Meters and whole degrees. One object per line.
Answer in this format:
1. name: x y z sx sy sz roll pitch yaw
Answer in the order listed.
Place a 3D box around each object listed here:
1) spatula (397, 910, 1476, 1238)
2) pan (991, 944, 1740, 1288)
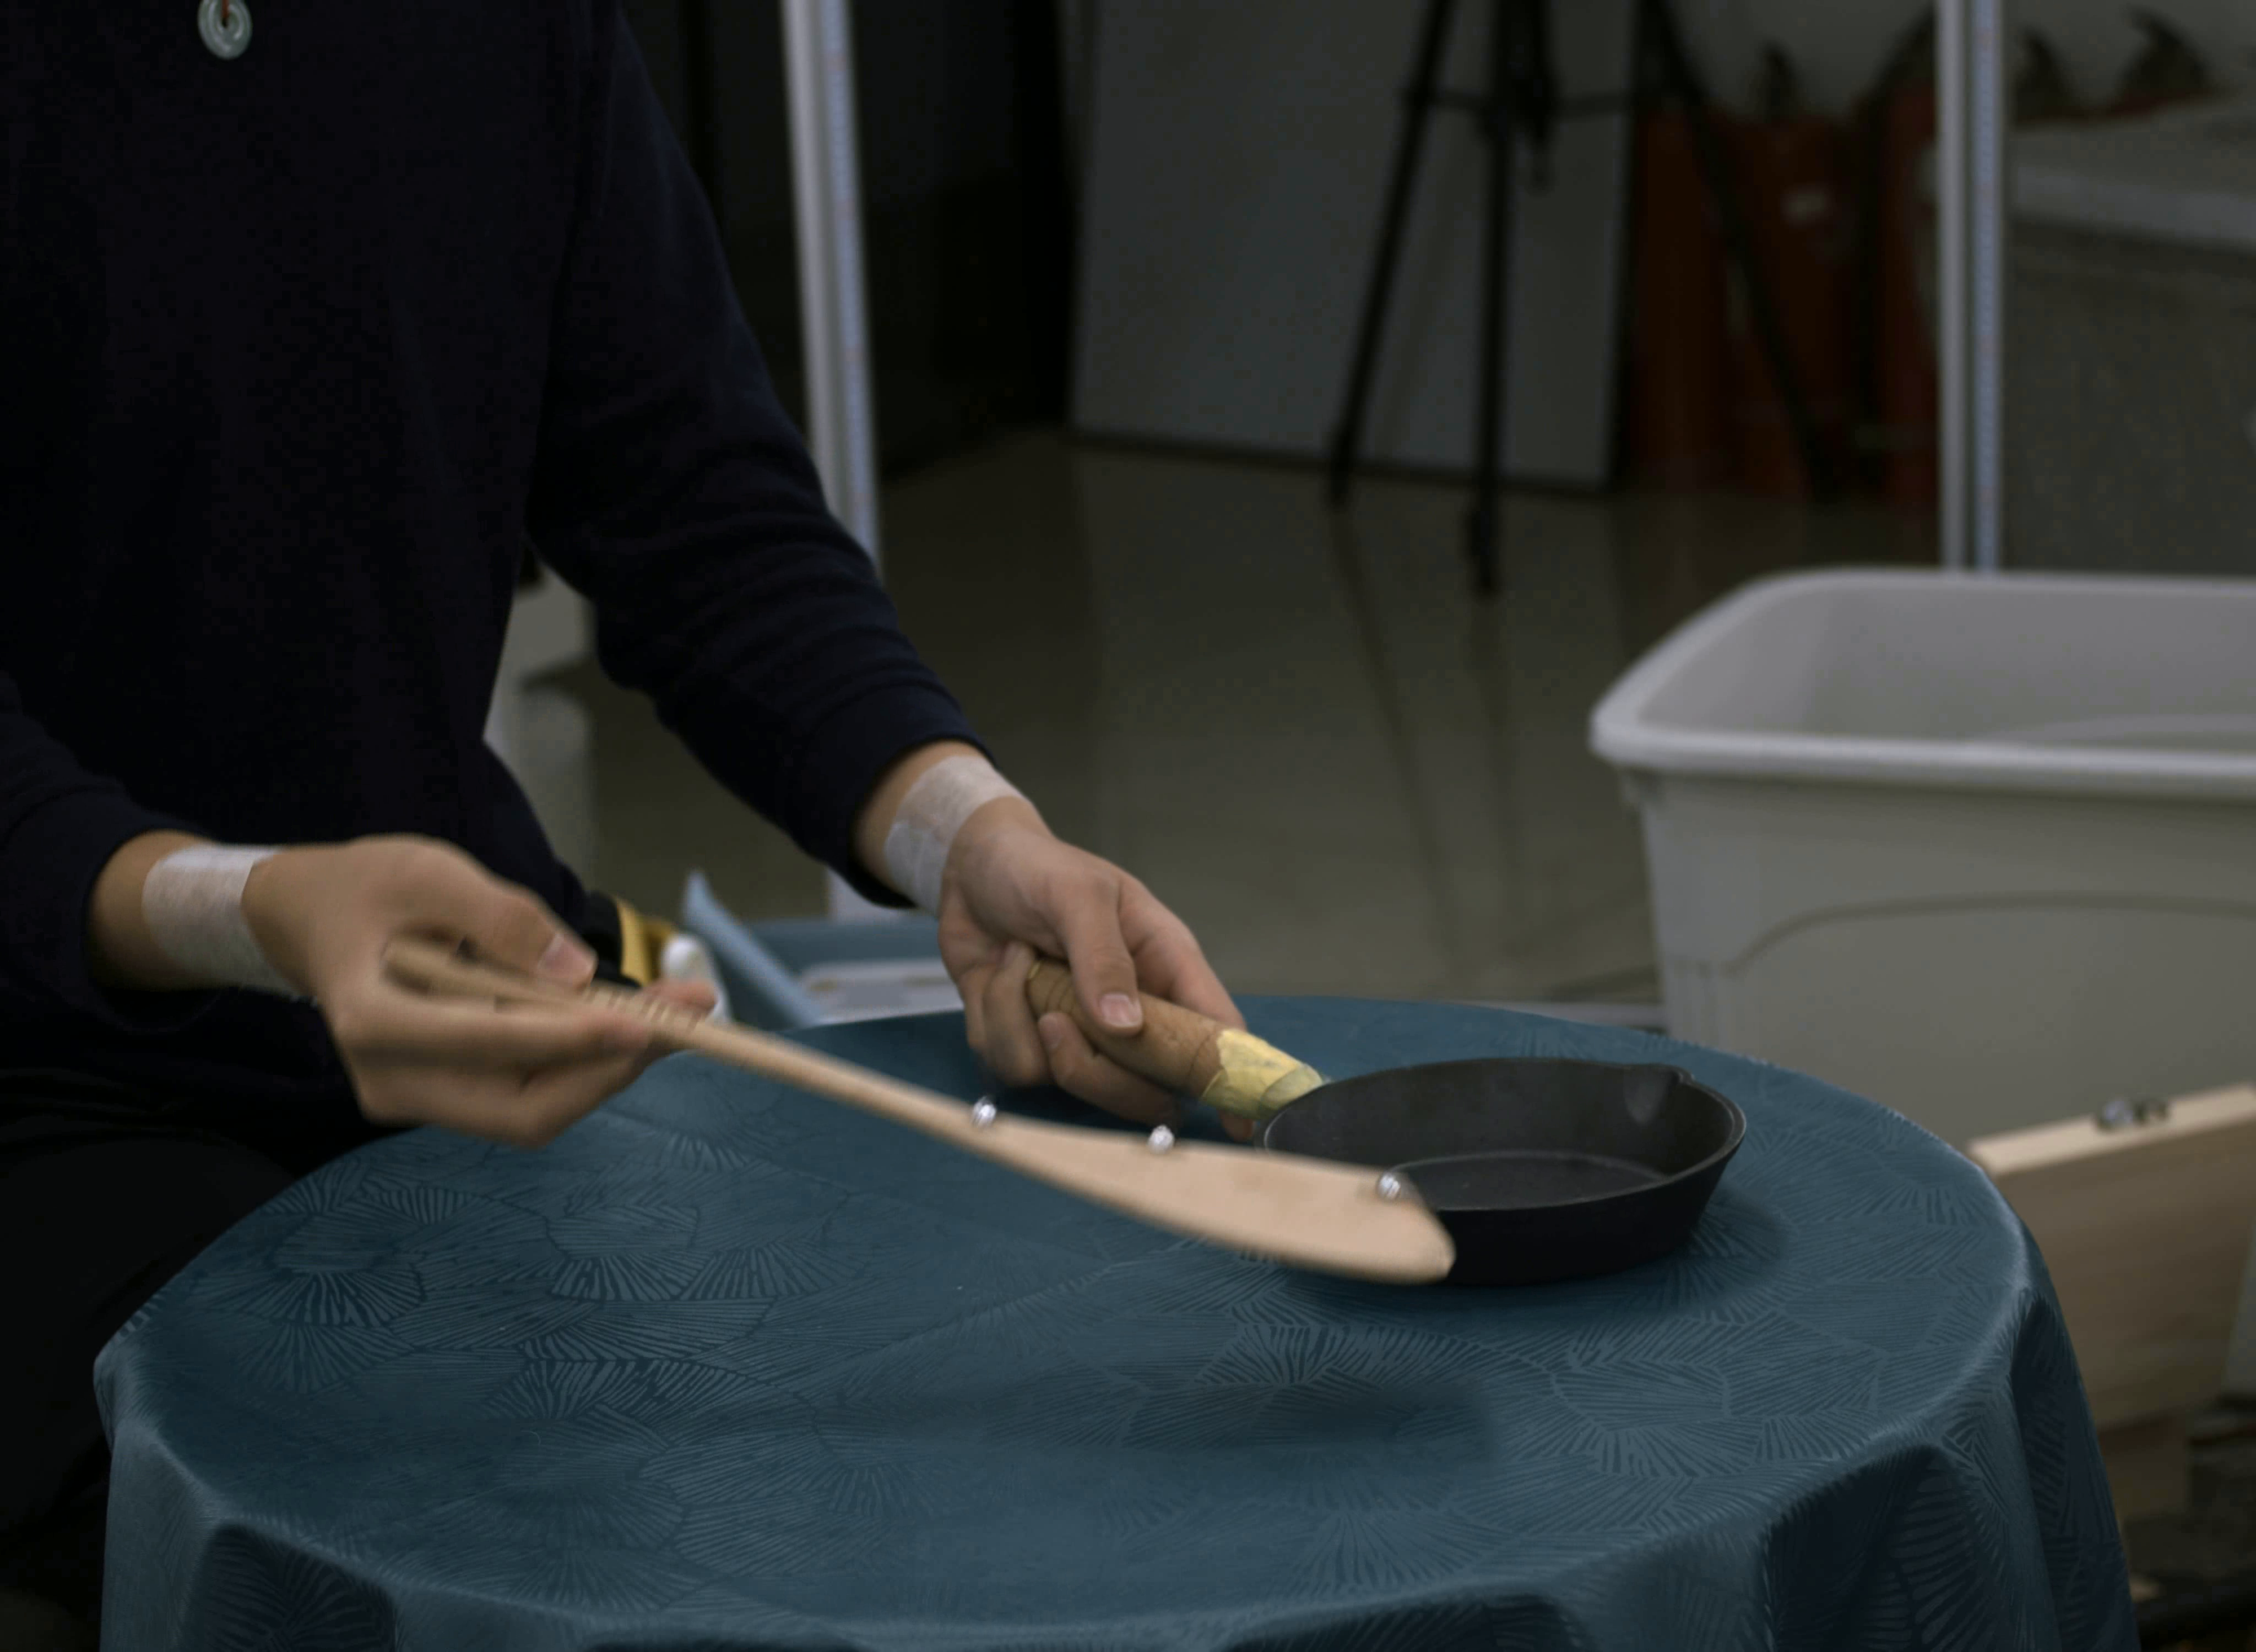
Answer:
1. spatula: -0.056 0.069 1.574 0.324 0.017 0.080 16 13 2
2. pan: 0.063 0.090 1.771 0.165 0.050 0.327 -15 19 -37
